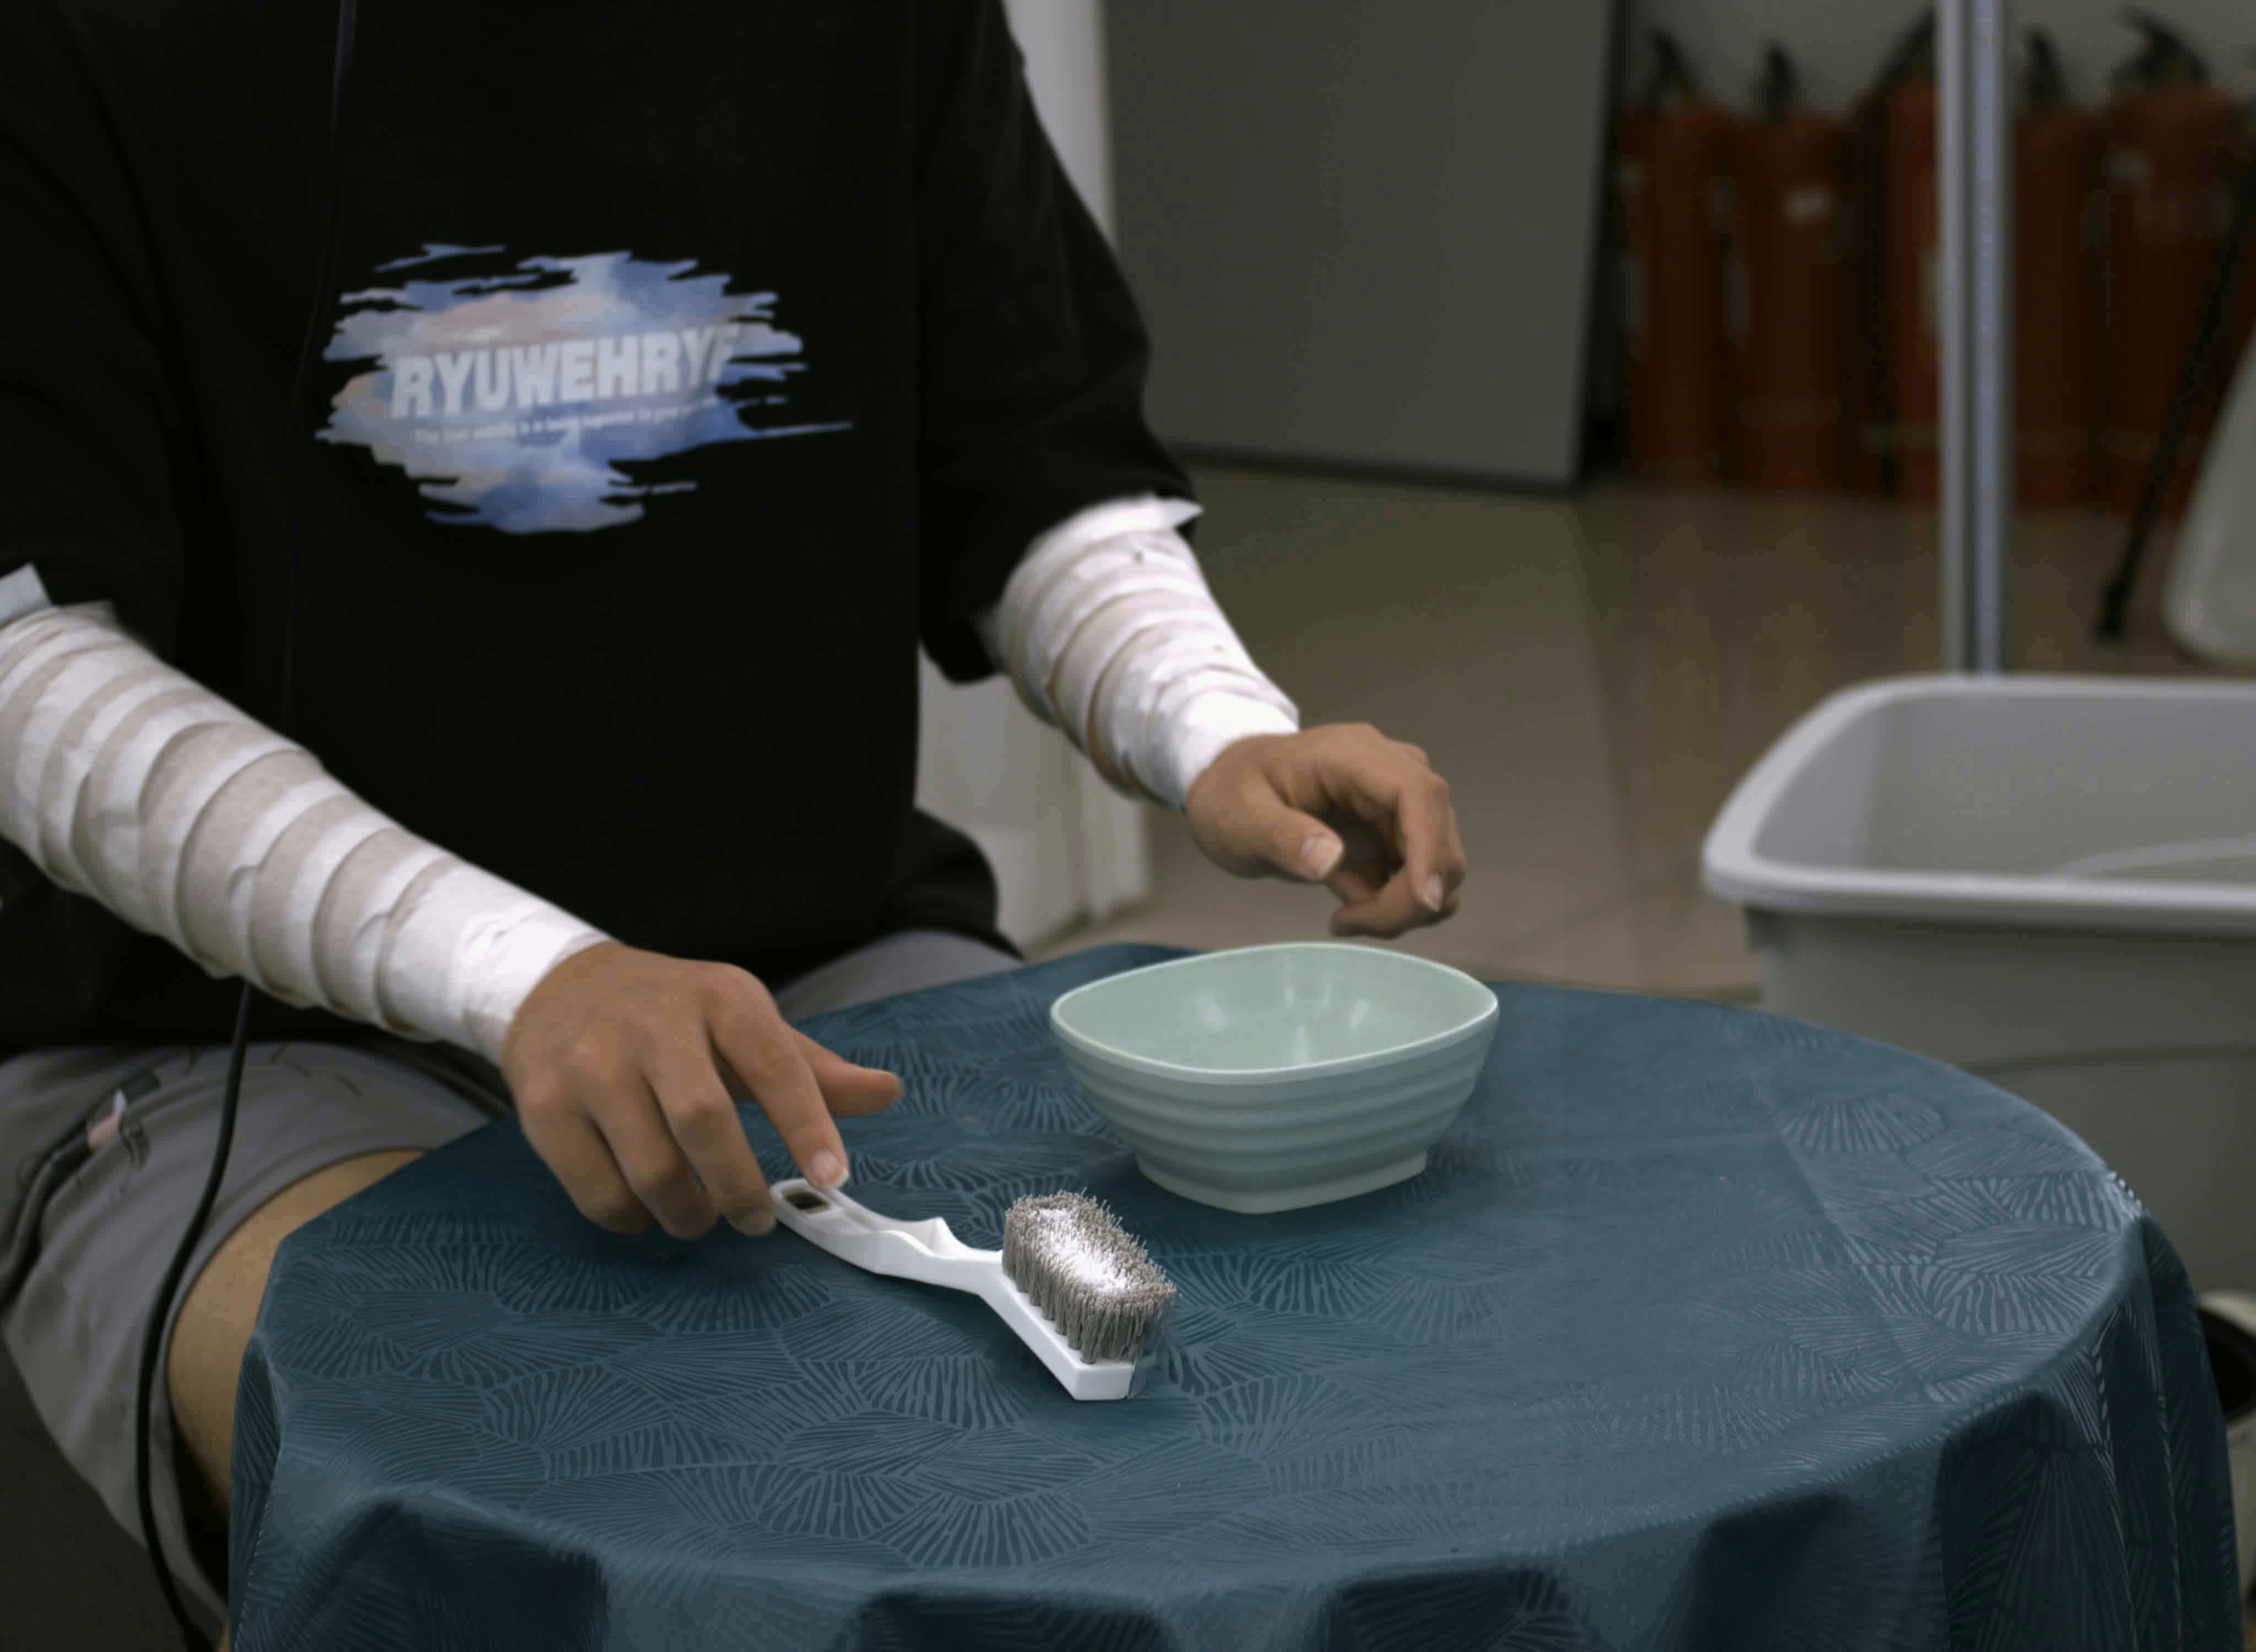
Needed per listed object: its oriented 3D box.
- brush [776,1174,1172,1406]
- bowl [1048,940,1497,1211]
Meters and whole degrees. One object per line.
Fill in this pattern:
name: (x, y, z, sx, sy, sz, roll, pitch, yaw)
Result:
brush: (-0.054, 0.123, 1.672, 0.033, 0.051, 0.246, -9, 15, -25)
bowl: (0.047, 0.085, 1.778, 0.149, 0.059, 0.152, 0, 14, -1)
